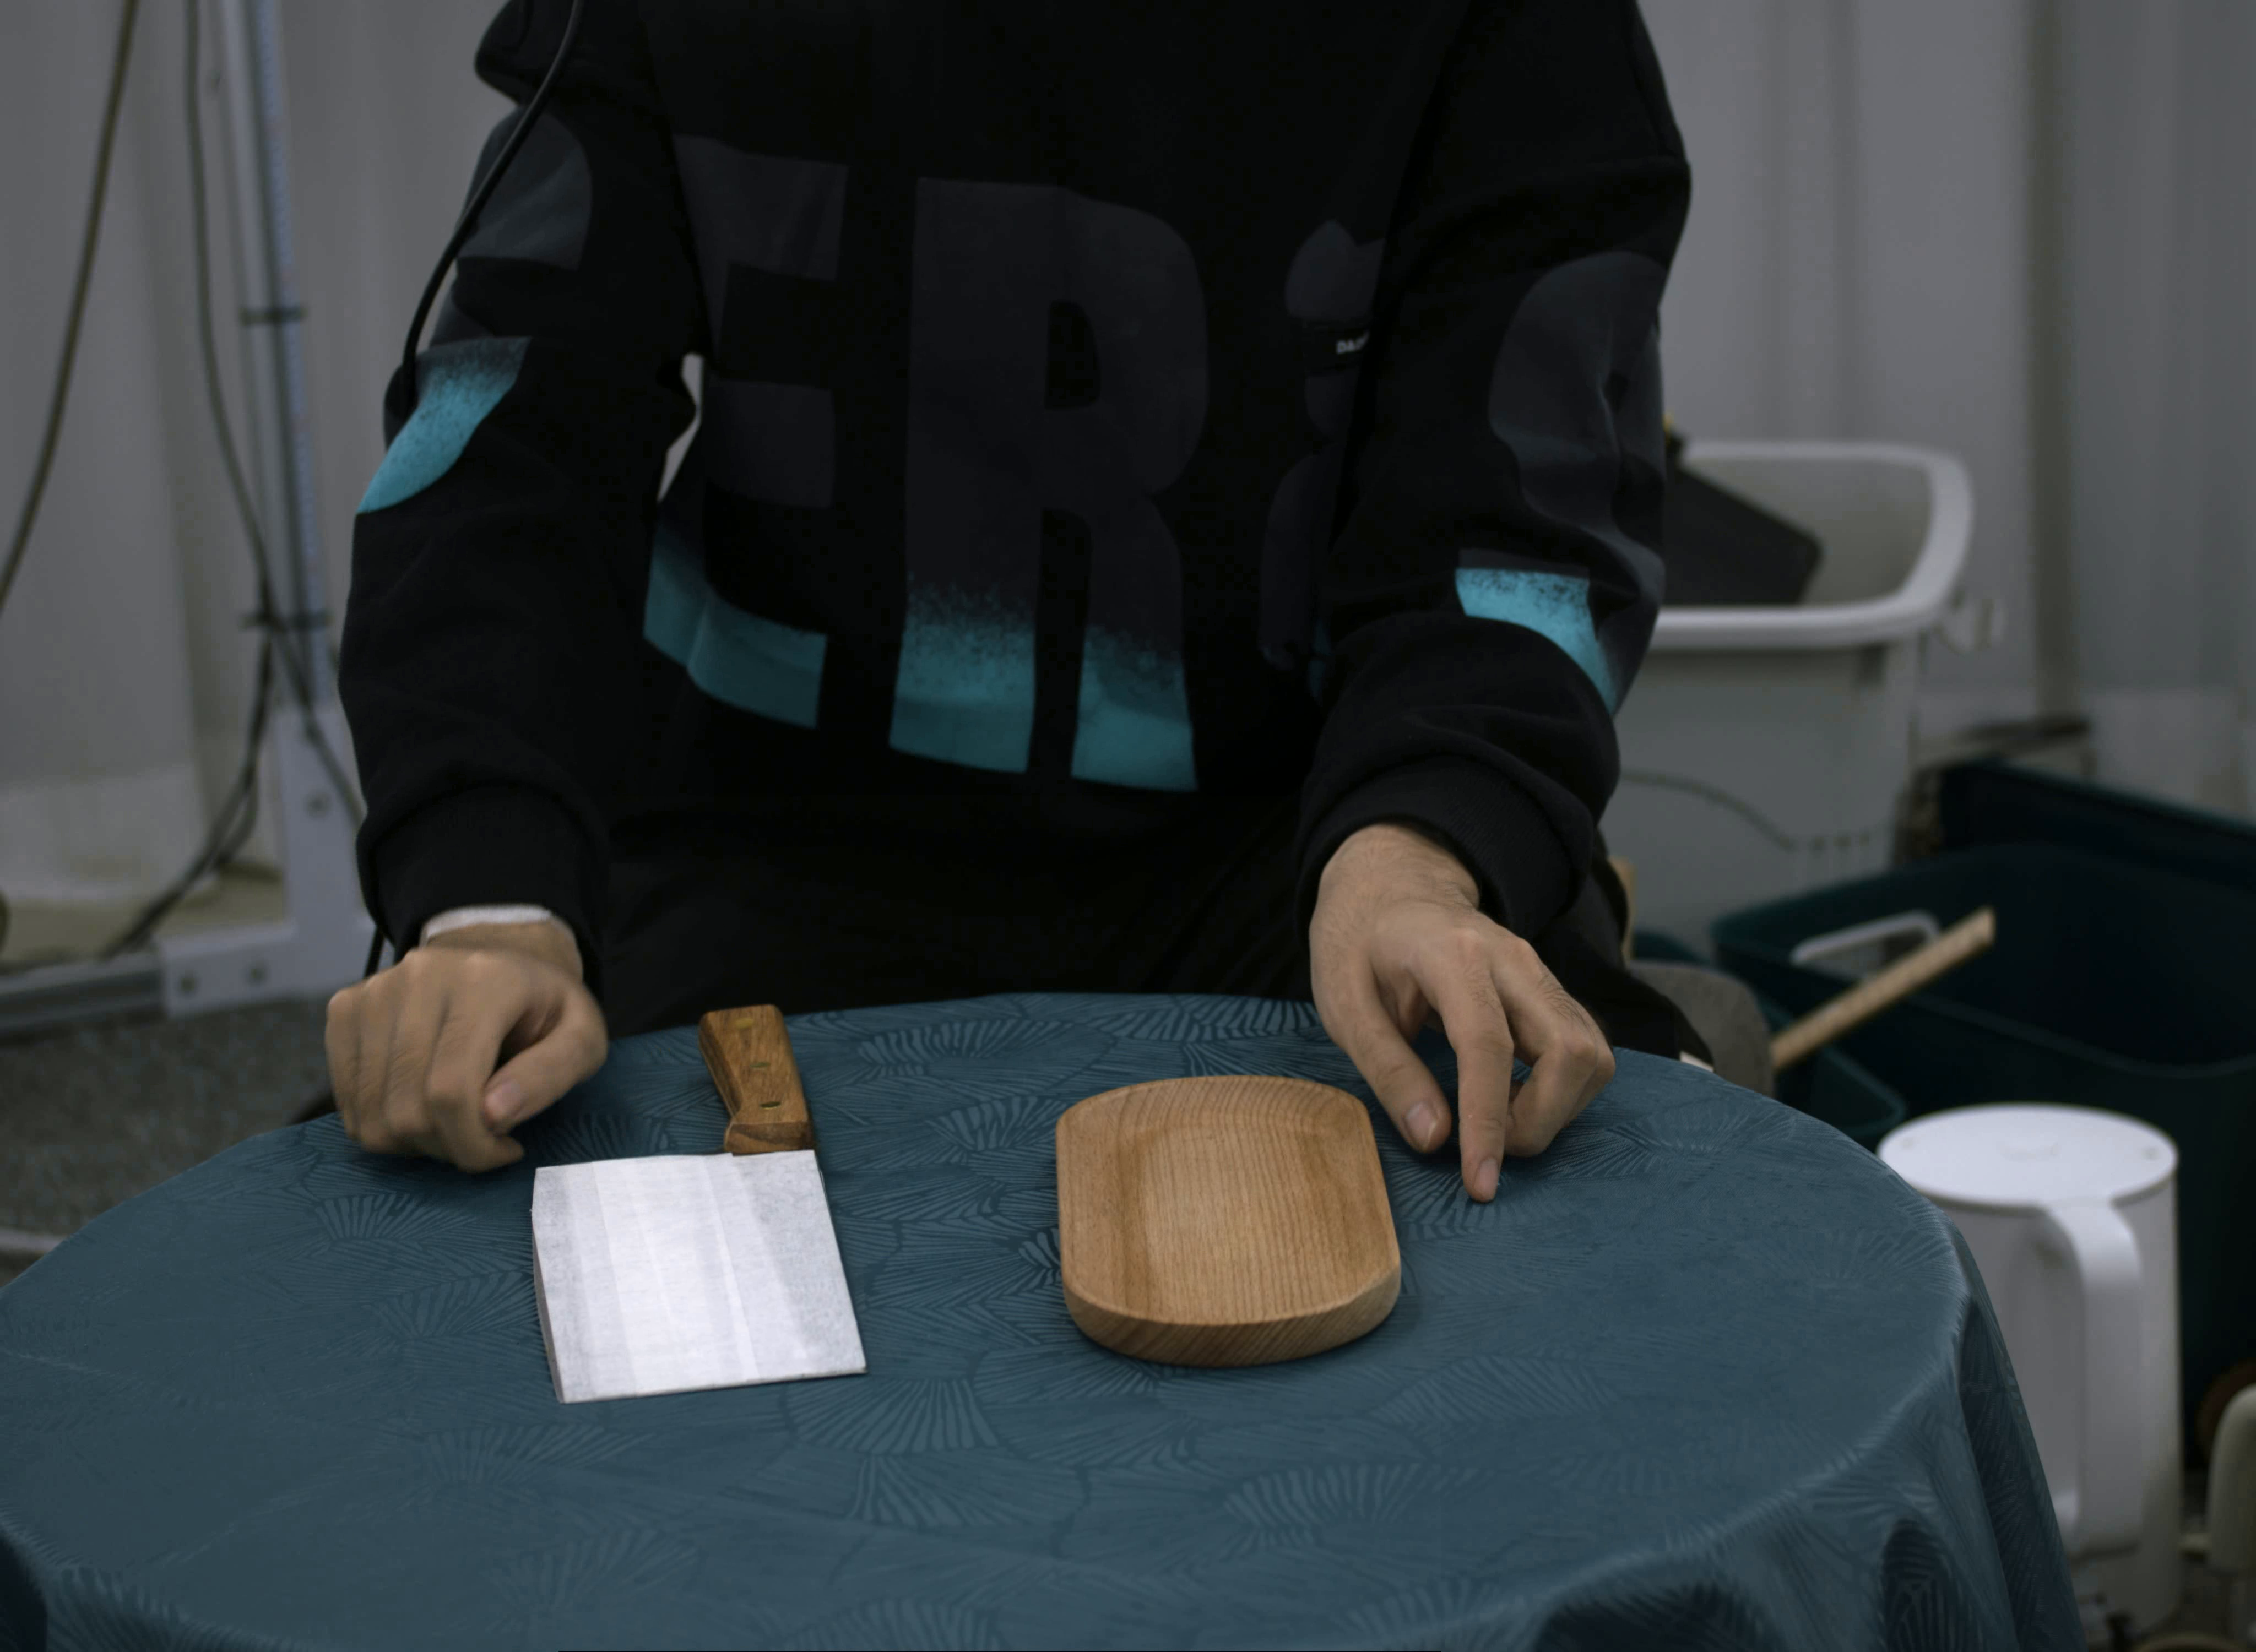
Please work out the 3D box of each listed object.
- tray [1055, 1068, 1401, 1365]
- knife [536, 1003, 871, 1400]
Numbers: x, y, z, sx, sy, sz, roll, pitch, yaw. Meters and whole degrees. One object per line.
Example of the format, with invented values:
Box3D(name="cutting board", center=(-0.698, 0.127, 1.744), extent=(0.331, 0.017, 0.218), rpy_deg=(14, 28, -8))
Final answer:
Box3D(name="tray", center=(0.029, 0.117, 1.669), extent=(0.101, 0.020, 0.233), rpy_deg=(-2, 14, 0))
Box3D(name="knife", center=(-0.138, 0.116, 1.708), extent=(0.092, 0.021, 0.308), rpy_deg=(-6, 18, -6))
